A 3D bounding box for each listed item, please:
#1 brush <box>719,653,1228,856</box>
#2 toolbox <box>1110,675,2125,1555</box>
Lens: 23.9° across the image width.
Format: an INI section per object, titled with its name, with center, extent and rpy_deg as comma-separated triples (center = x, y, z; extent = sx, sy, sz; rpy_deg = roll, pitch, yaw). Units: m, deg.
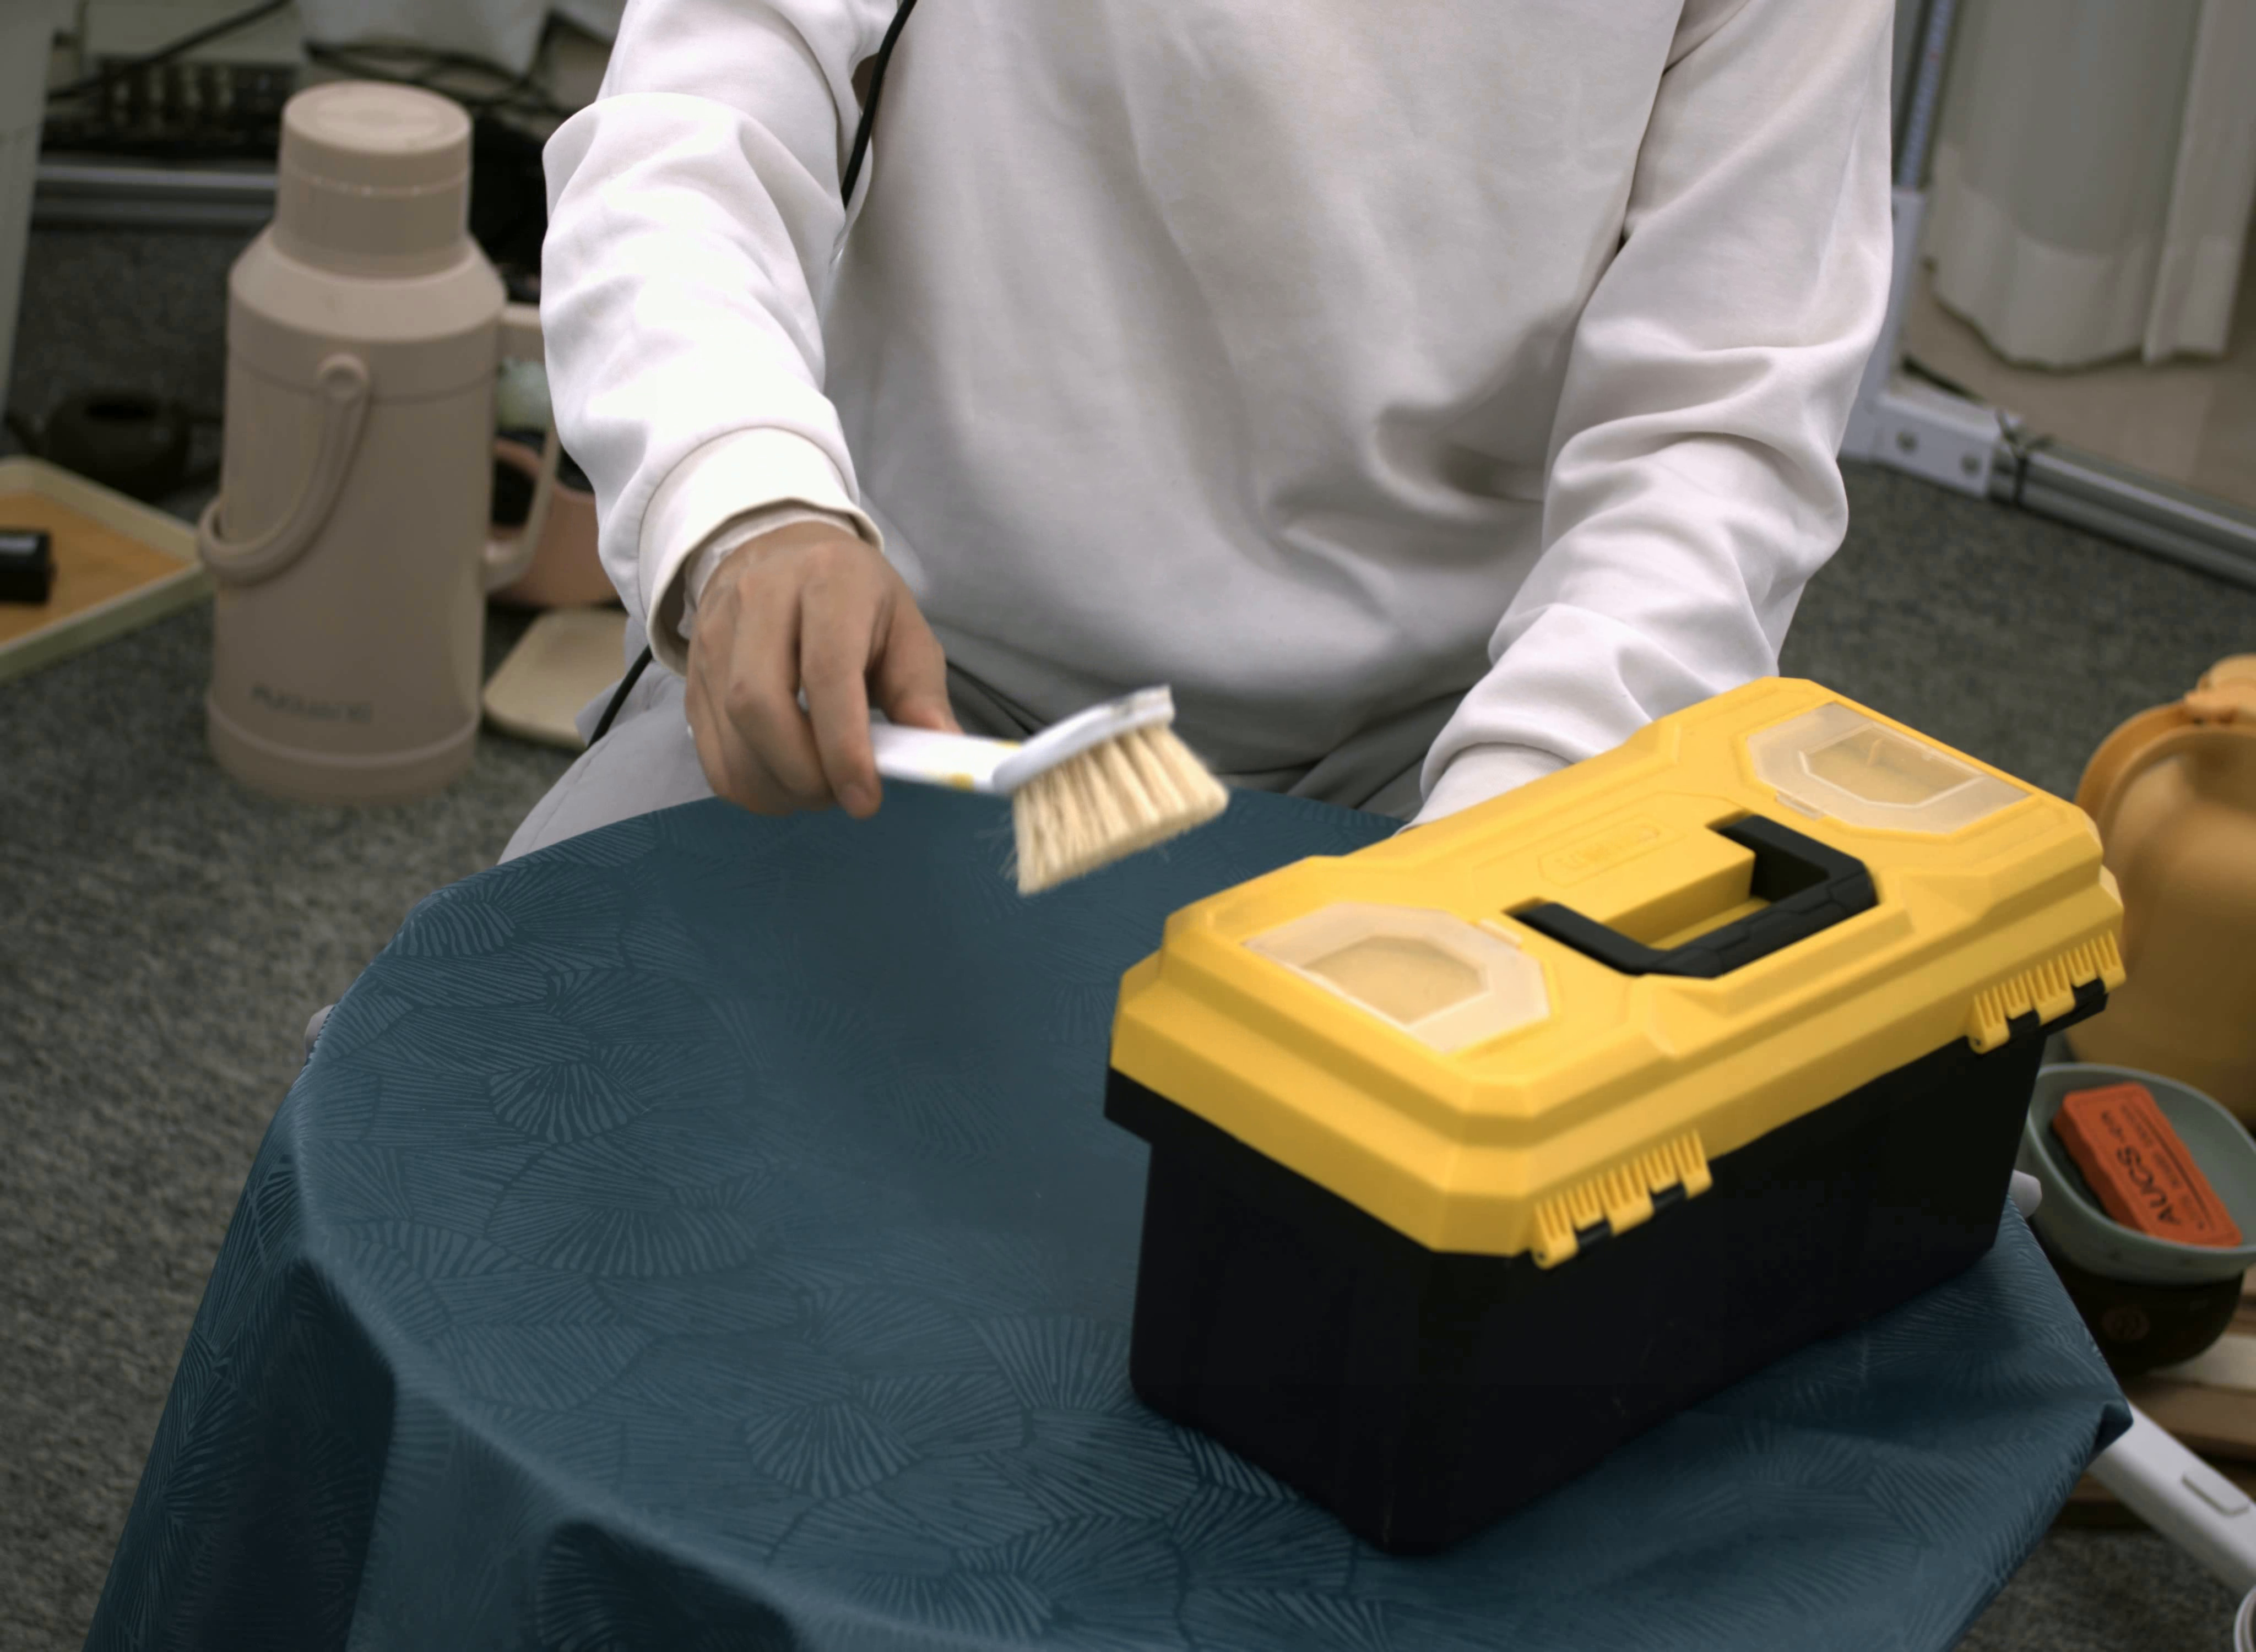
[brush]
center = -0.057, -0.013, 1.694
extent = 0.068, 0.056, 0.267
rpy_deg = -4, -3, -32
[toolbox]
center = 0.156, 0.087, 1.724
extent = 0.182, 0.172, 0.350
rpy_deg = 29, 34, 35
